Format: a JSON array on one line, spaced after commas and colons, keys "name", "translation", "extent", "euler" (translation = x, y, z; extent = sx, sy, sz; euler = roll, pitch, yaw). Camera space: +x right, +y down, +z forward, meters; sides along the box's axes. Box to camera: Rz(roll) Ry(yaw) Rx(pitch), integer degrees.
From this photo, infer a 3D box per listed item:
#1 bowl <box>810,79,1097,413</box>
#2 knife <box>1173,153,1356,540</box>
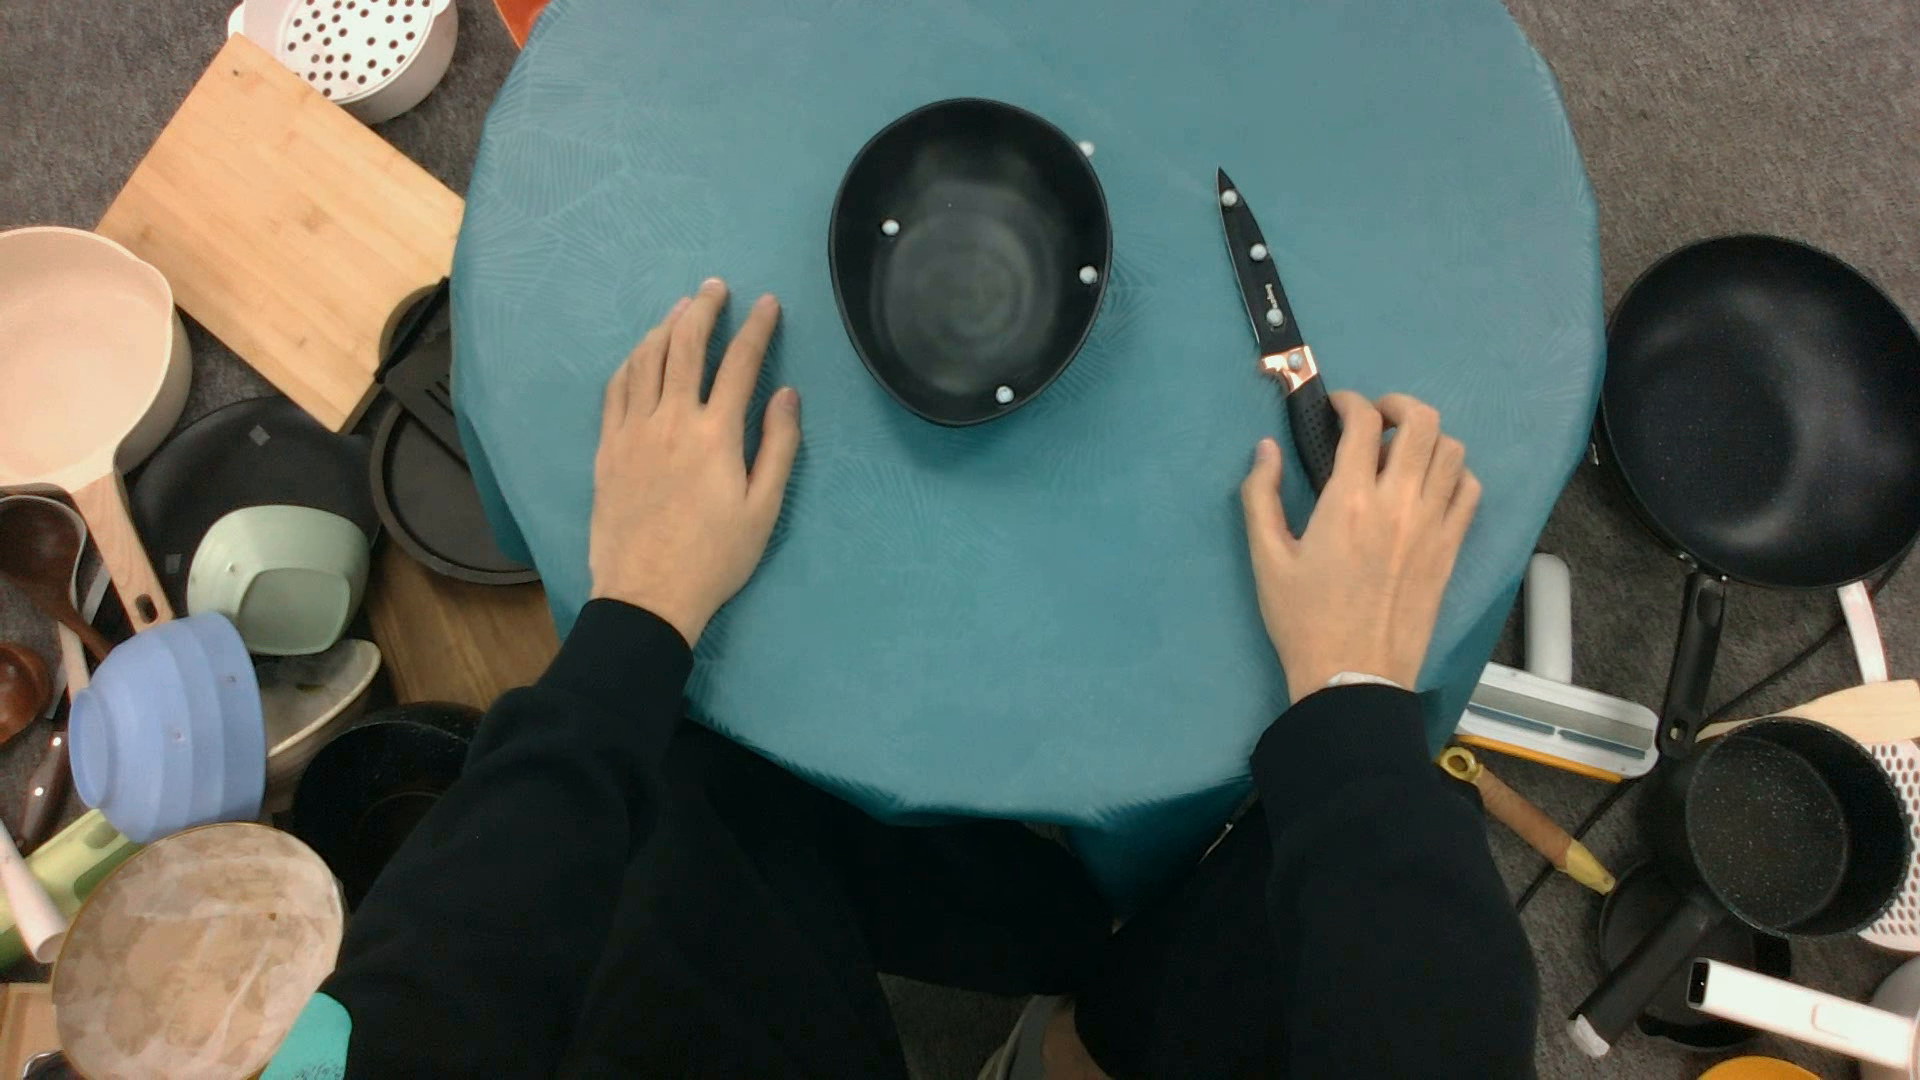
[{"name": "bowl", "translation": [-0.003, -0.140, 0.687], "extent": [0.137, 0.066, 0.170], "euler": [1, 78, 1]}, {"name": "knife", "translation": [0.154, -0.104, 0.704], "extent": [0.026, 0.017, 0.226], "euler": [-16, 75, -6]}]
